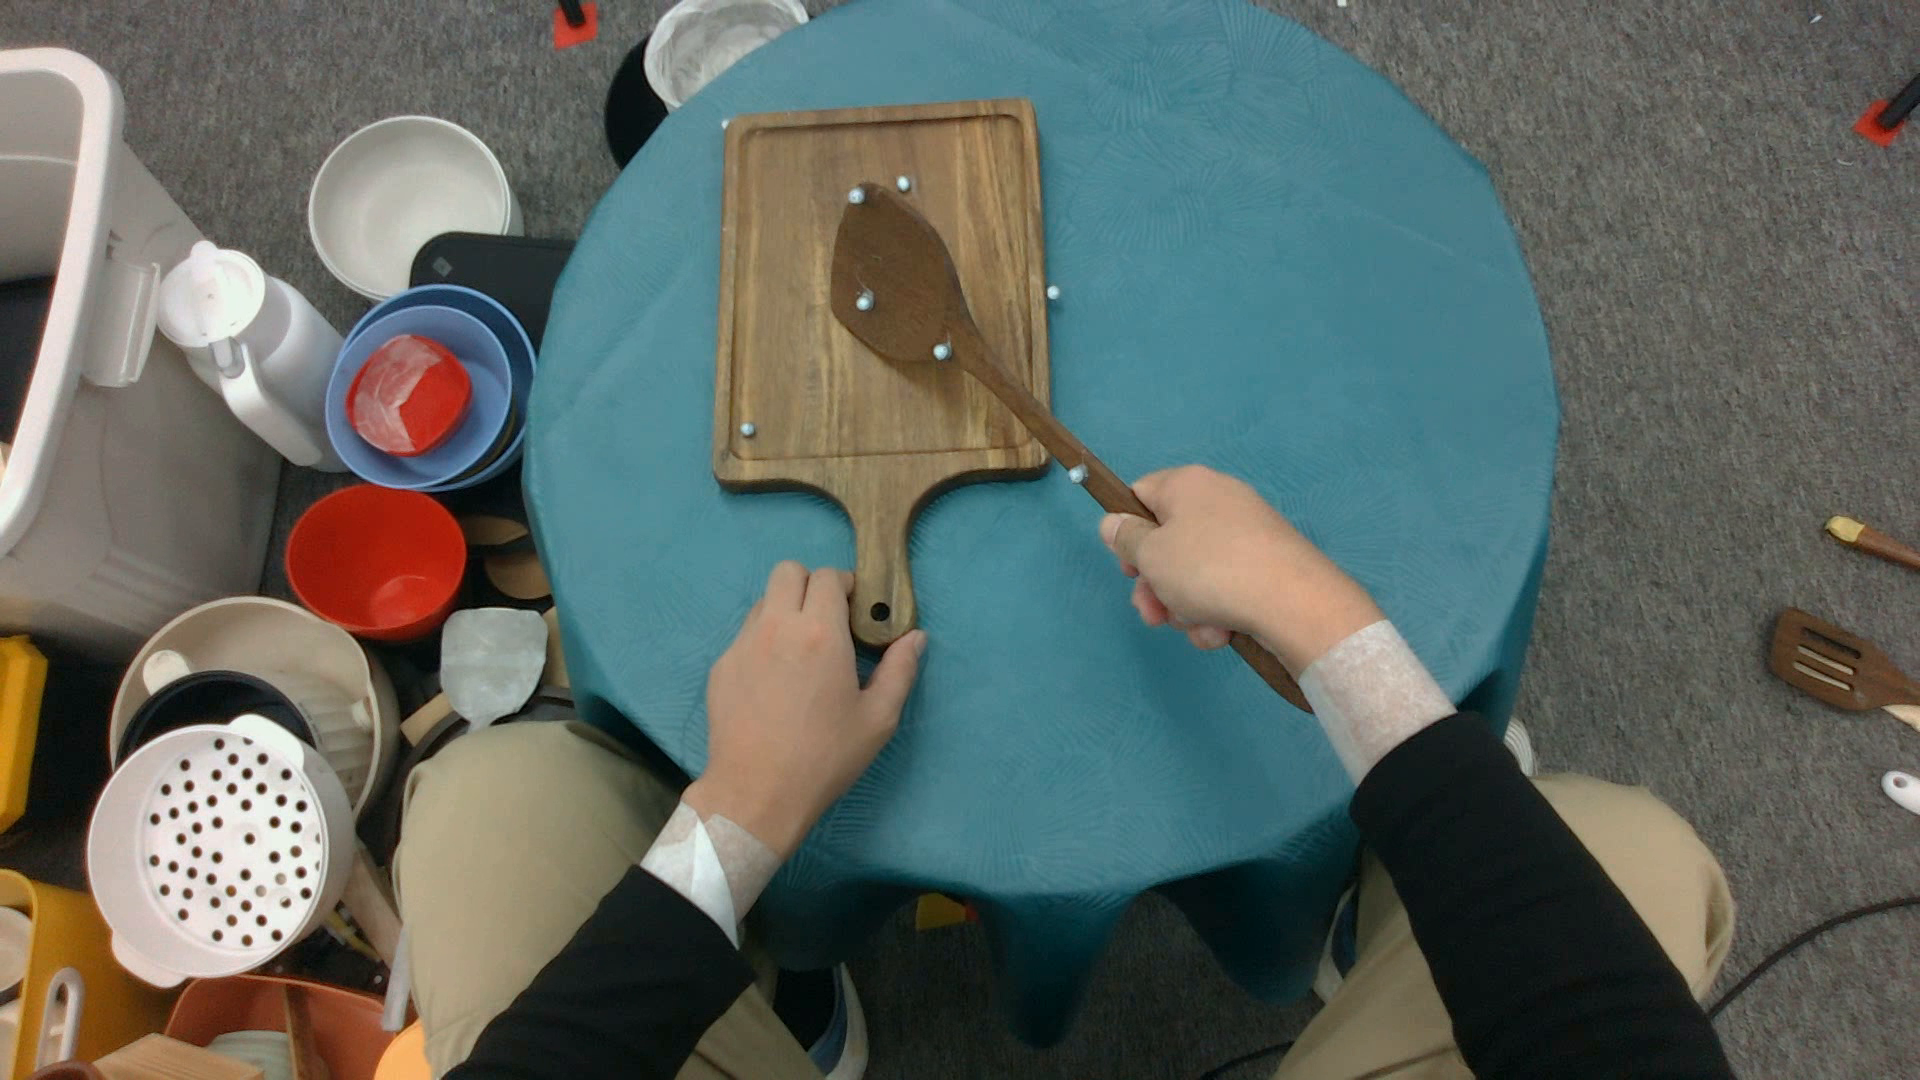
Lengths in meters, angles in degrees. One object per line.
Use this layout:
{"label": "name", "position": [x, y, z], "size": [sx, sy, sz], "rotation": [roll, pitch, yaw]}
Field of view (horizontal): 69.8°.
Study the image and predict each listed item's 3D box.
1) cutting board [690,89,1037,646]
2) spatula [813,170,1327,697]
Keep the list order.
{"label": "cutting board", "position": [-0.059, -0.110, 0.807], "size": [0.201, 0.023, 0.353], "rotation": [-3, 70, 2]}
{"label": "spatula", "position": [0.043, -0.056, 0.712], "size": [0.016, 0.095, 0.386], "rotation": [-22, 58, -39]}
